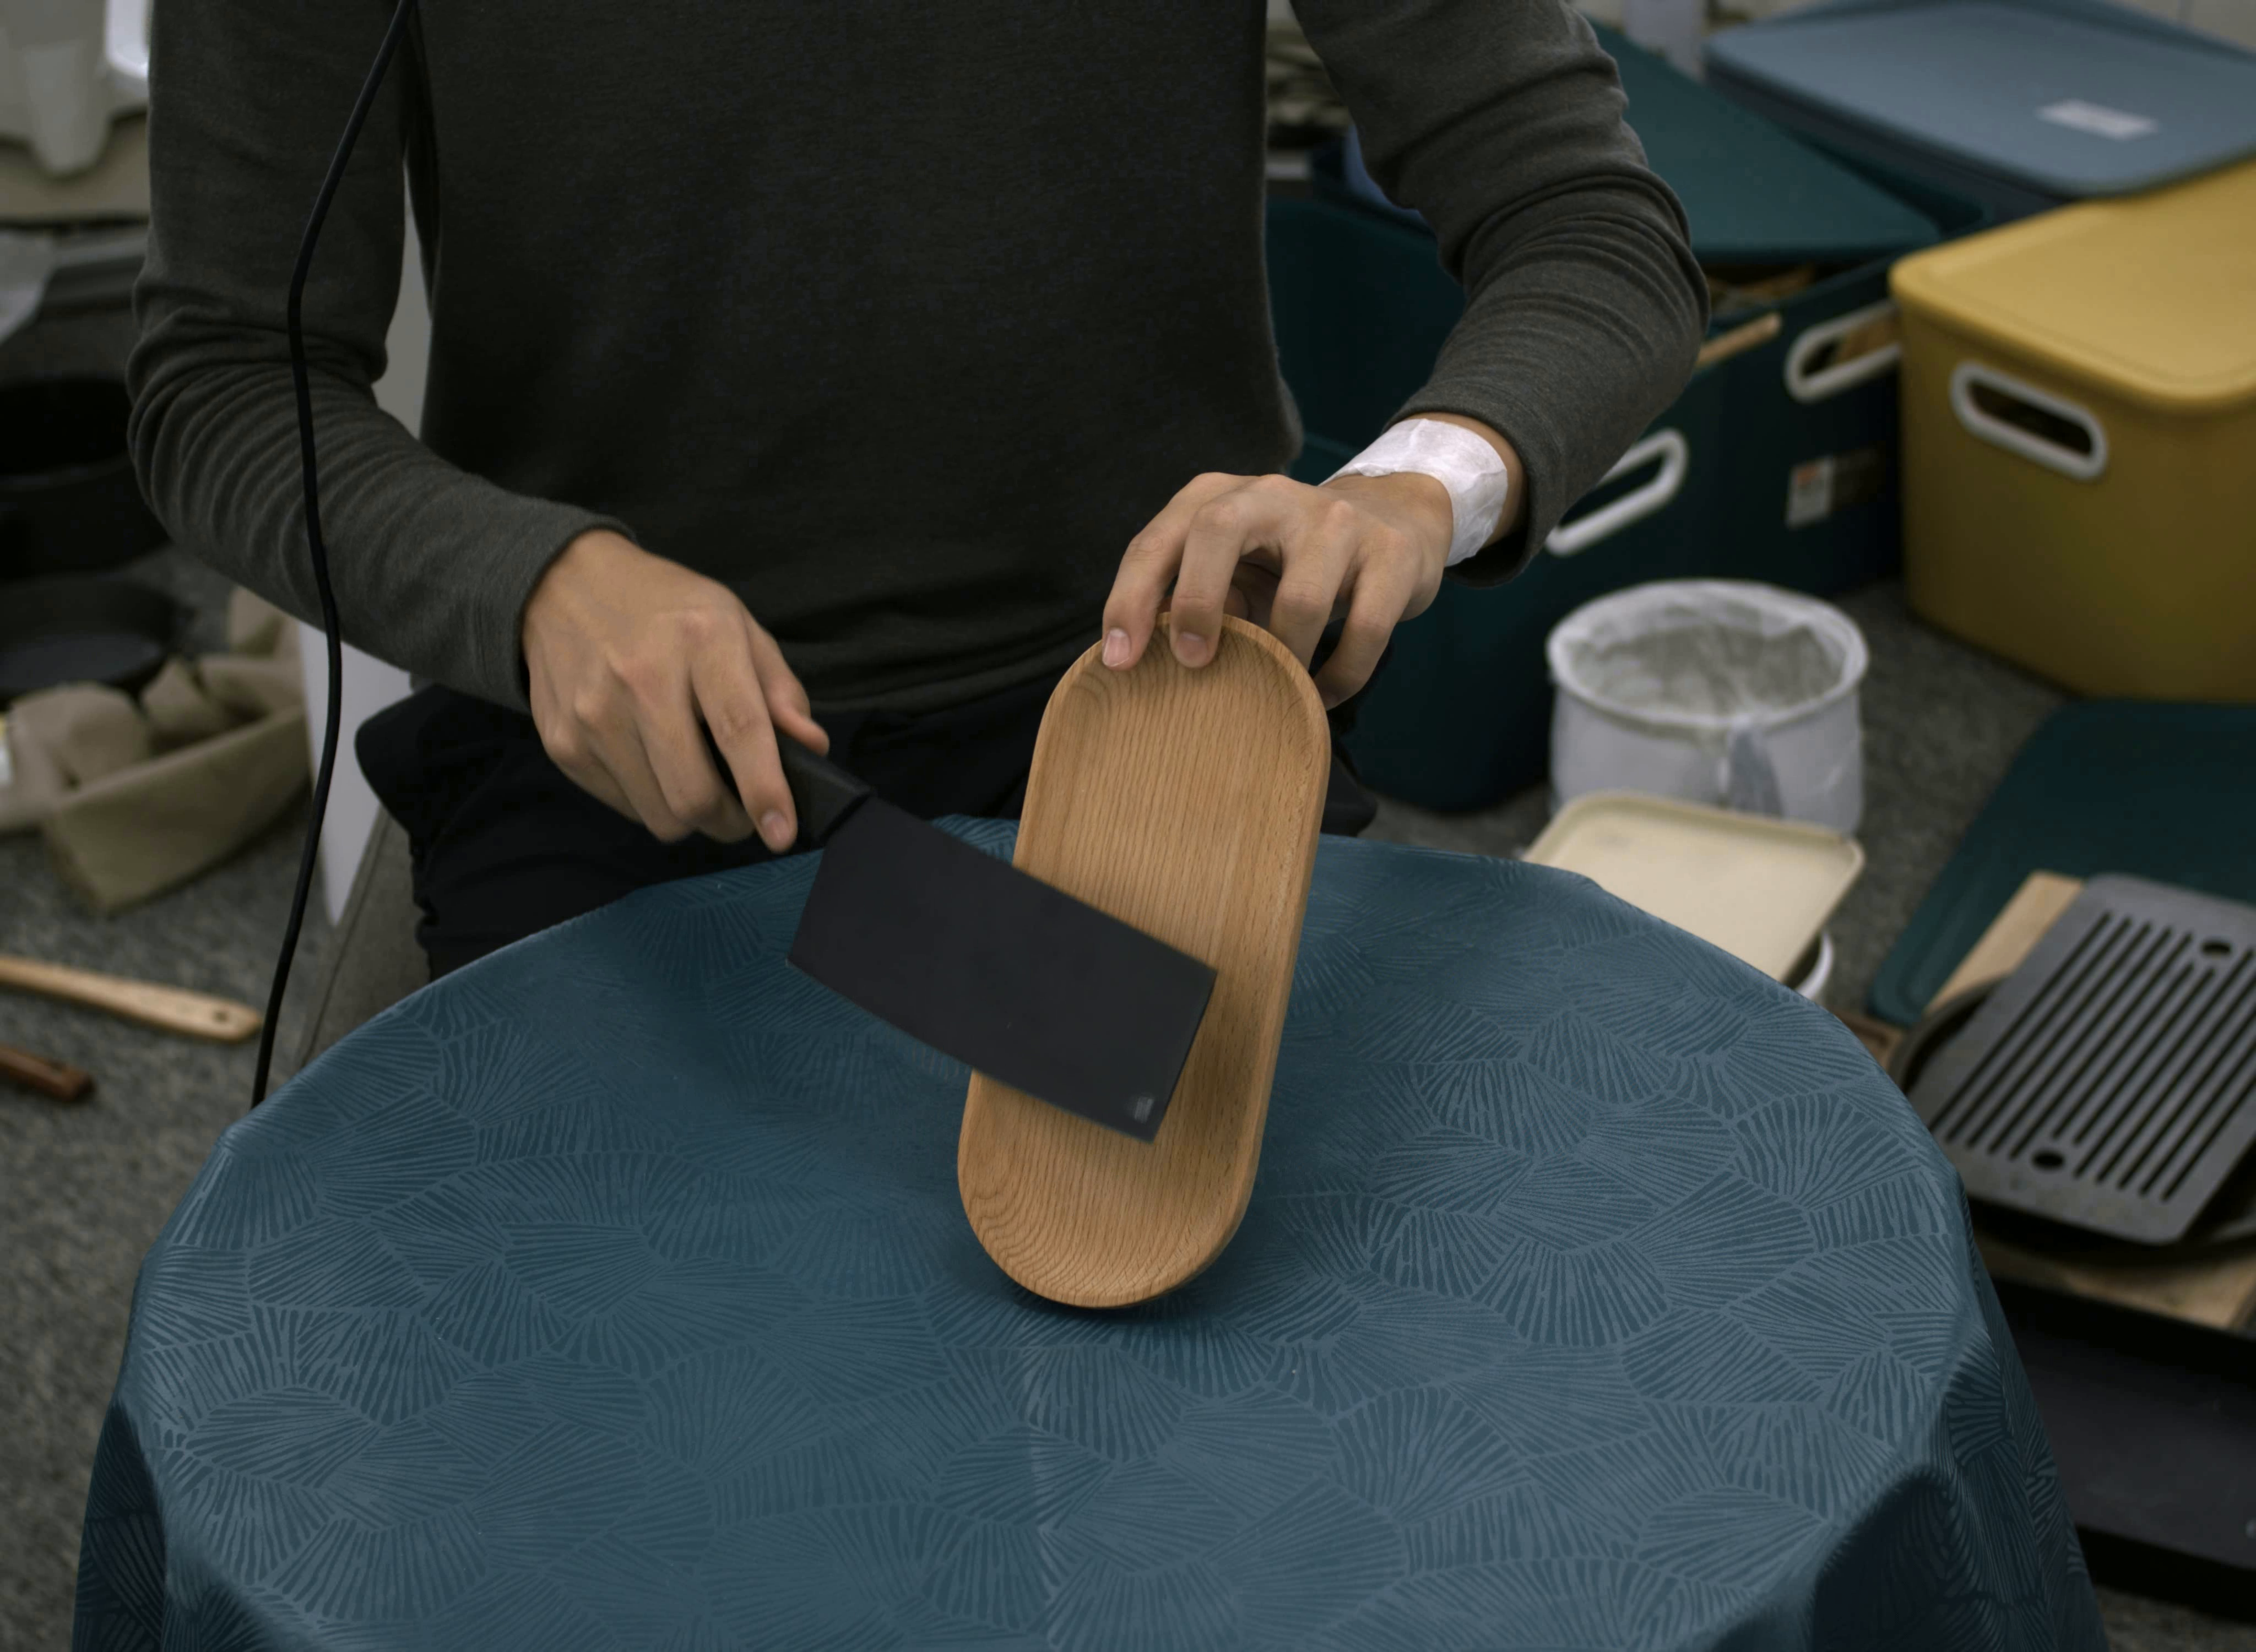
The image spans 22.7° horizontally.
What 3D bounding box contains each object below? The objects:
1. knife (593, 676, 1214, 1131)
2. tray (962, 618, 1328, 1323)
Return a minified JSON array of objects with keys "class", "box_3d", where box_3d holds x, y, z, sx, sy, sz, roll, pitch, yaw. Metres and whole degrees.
[{"class":"knife","box_3d":[-0.082,0.019,1.861,0.303,0.081,0.021,31,9,41]},{"class":"tray","box_3d":[0.007,0.046,1.817,0.101,0.234,0.020,5,-12,21]}]
